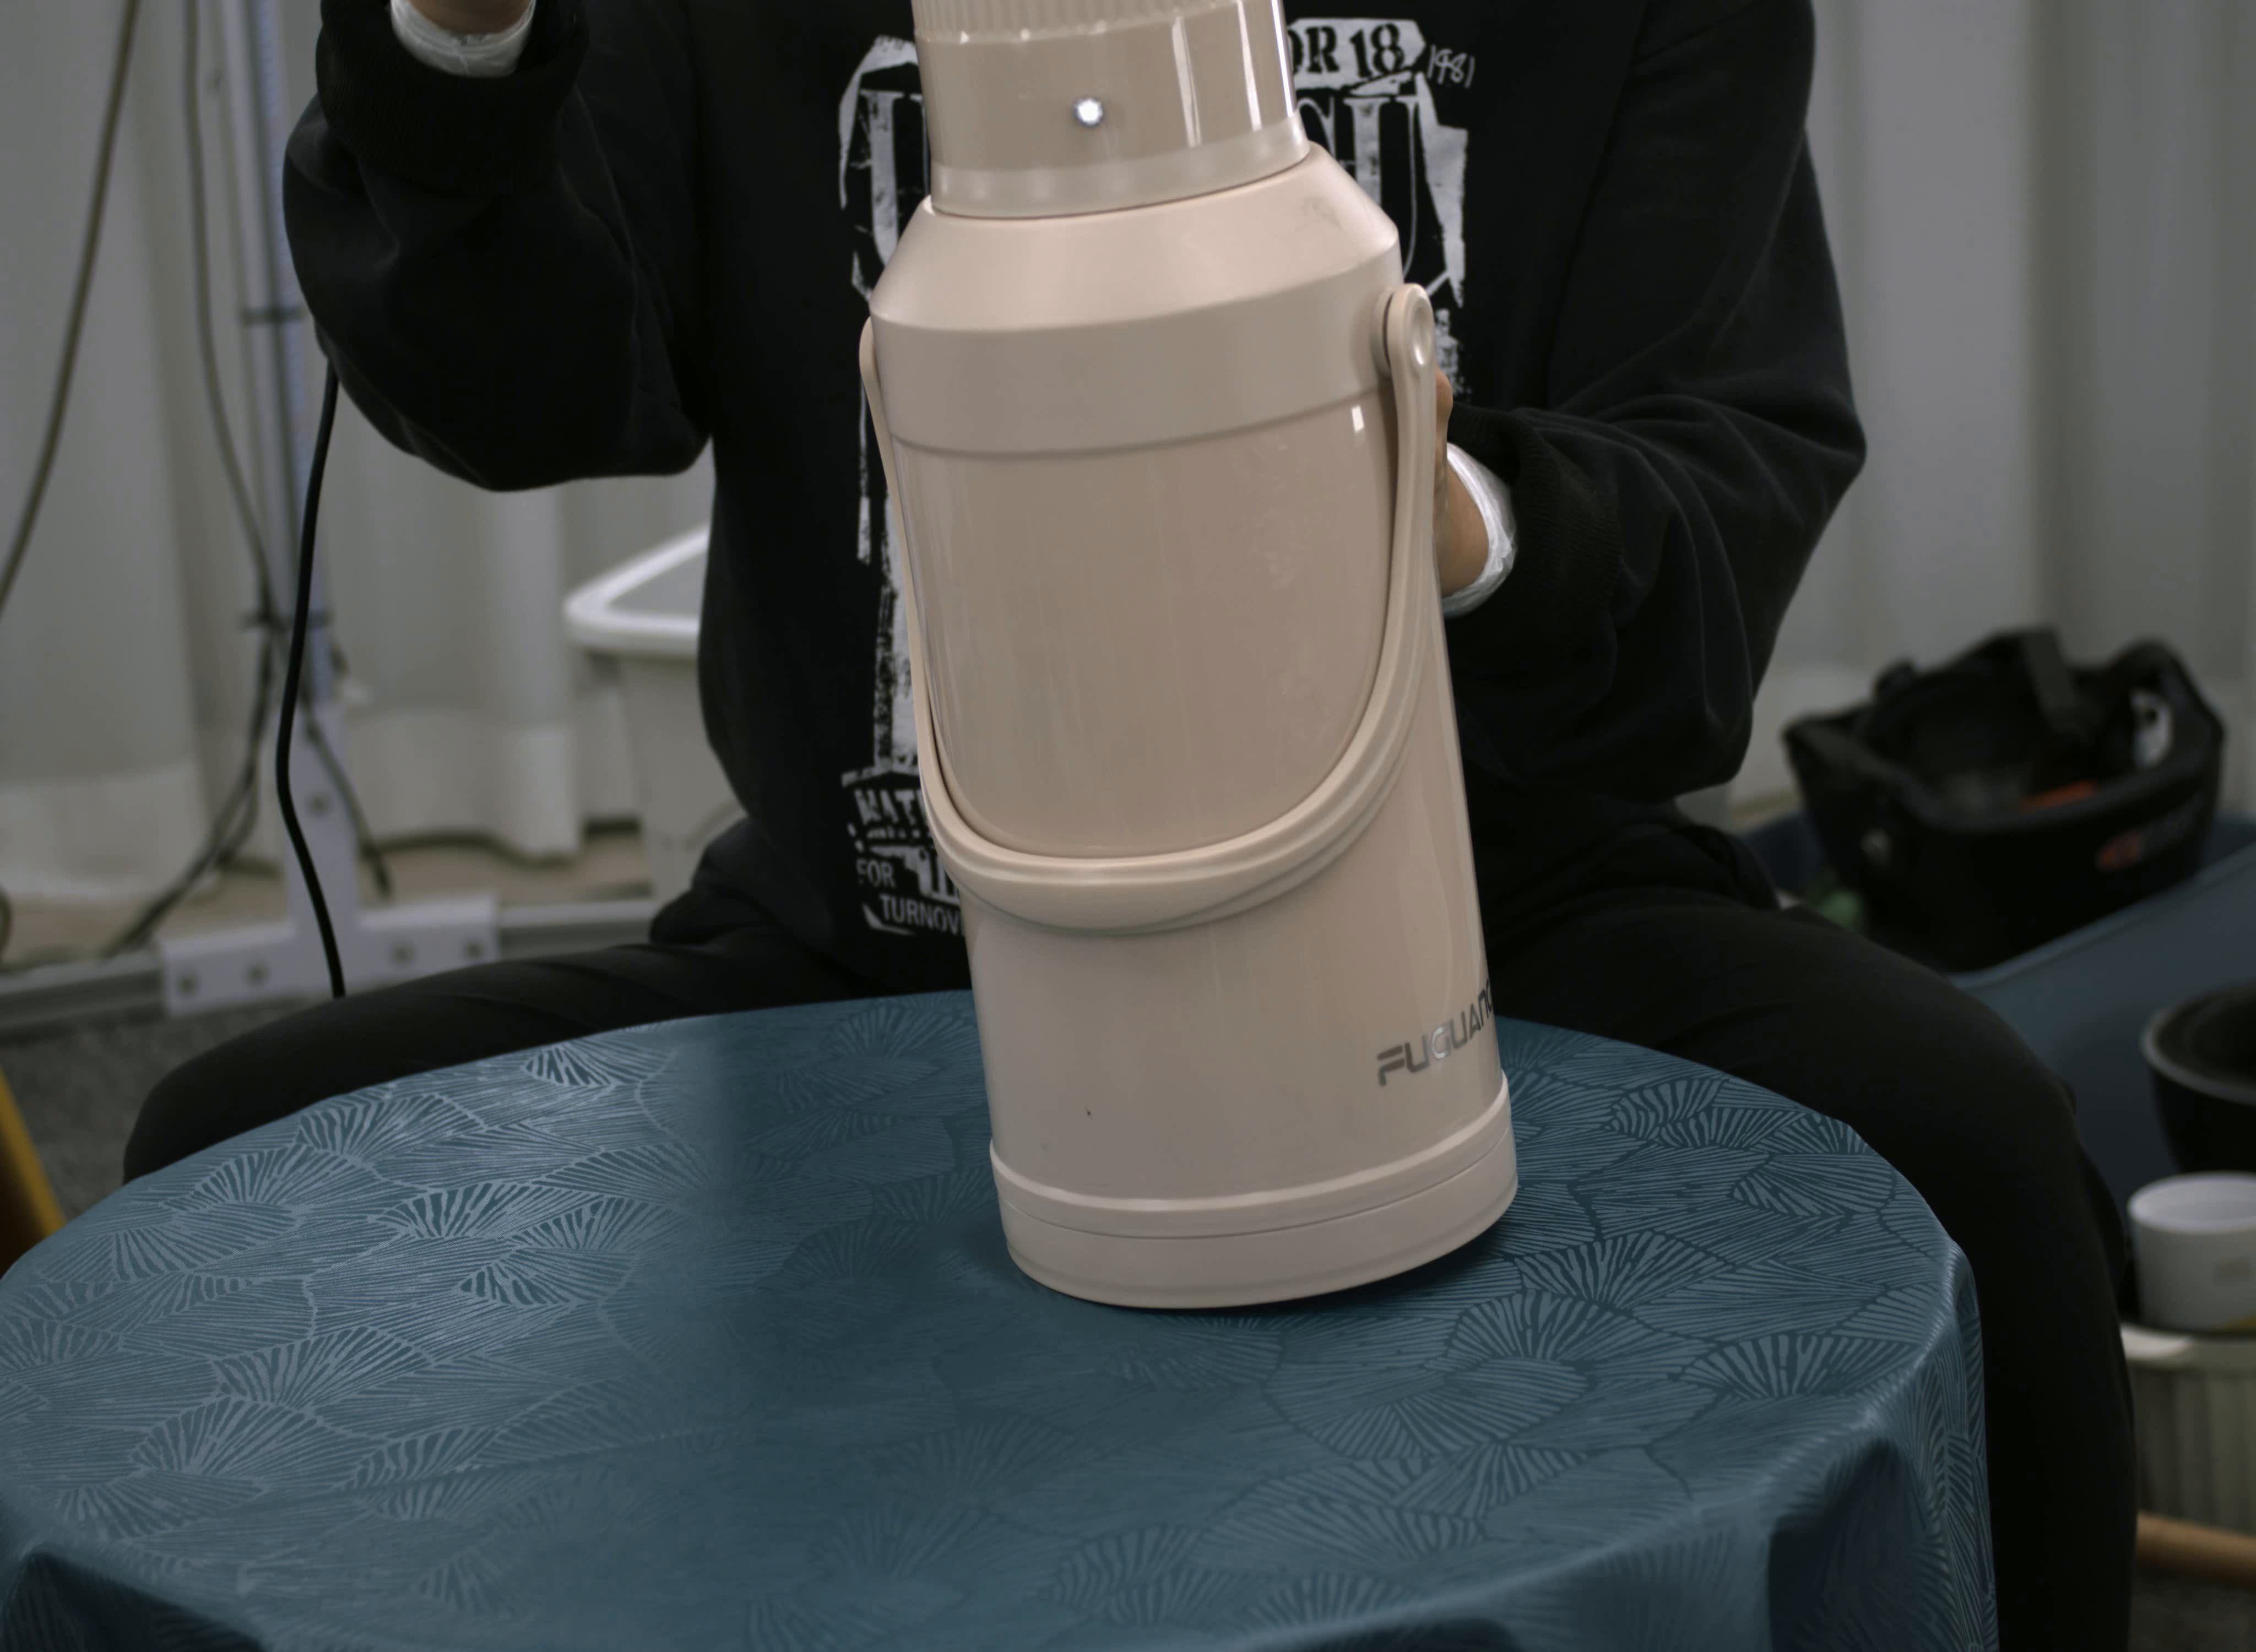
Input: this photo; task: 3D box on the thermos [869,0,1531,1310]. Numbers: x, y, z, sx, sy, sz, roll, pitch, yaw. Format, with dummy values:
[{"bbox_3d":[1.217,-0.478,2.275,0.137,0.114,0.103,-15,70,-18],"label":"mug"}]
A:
[{"bbox_3d":[0.024,-0.075,1.633,0.175,0.404,0.208,-3,16,25],"label":"thermos"}]
